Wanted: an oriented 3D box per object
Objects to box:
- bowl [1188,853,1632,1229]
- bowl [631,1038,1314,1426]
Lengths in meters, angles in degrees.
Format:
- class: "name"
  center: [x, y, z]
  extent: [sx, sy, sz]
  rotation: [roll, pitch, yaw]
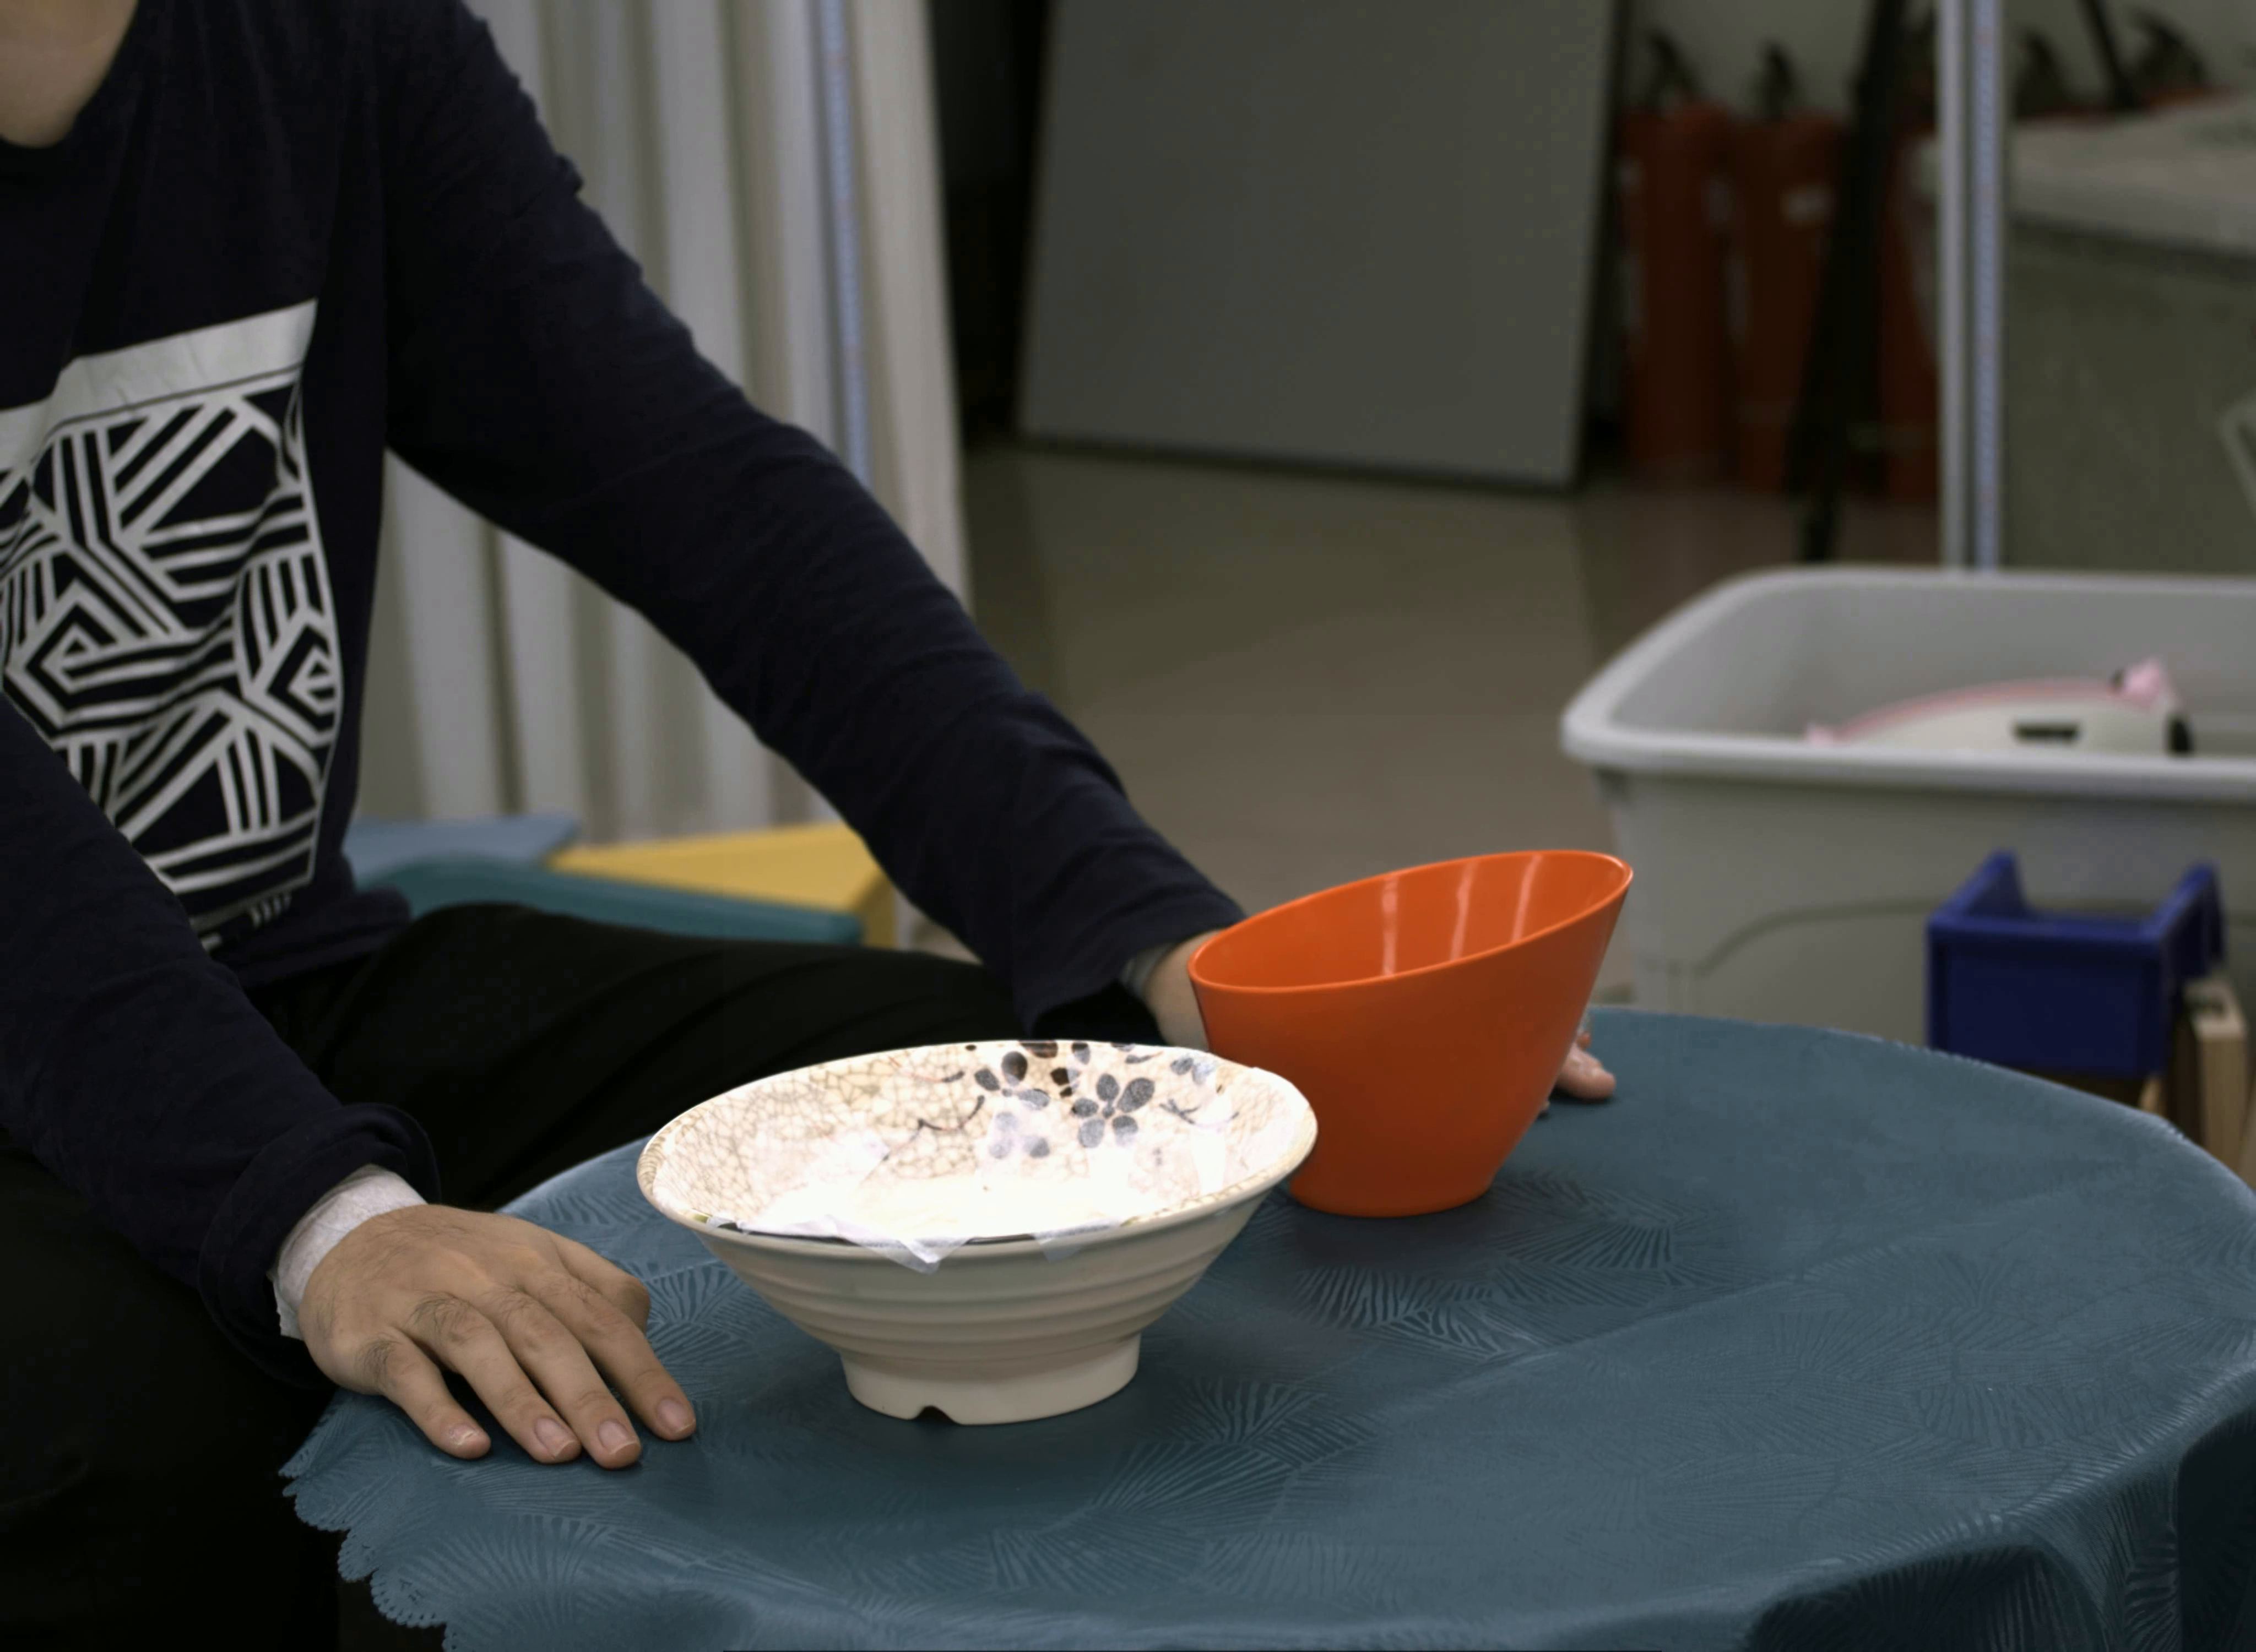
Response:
- class: "bowl"
  center: [0.094, 0.071, 1.744]
  extent: [0.146, 0.106, 0.148]
  rotation: [-6, 12, 0]
- class: "bowl"
  center: [-0.044, 0.126, 1.595]
  extent: [0.201, 0.079, 0.204]
  rotation: [-2, 13, 0]
